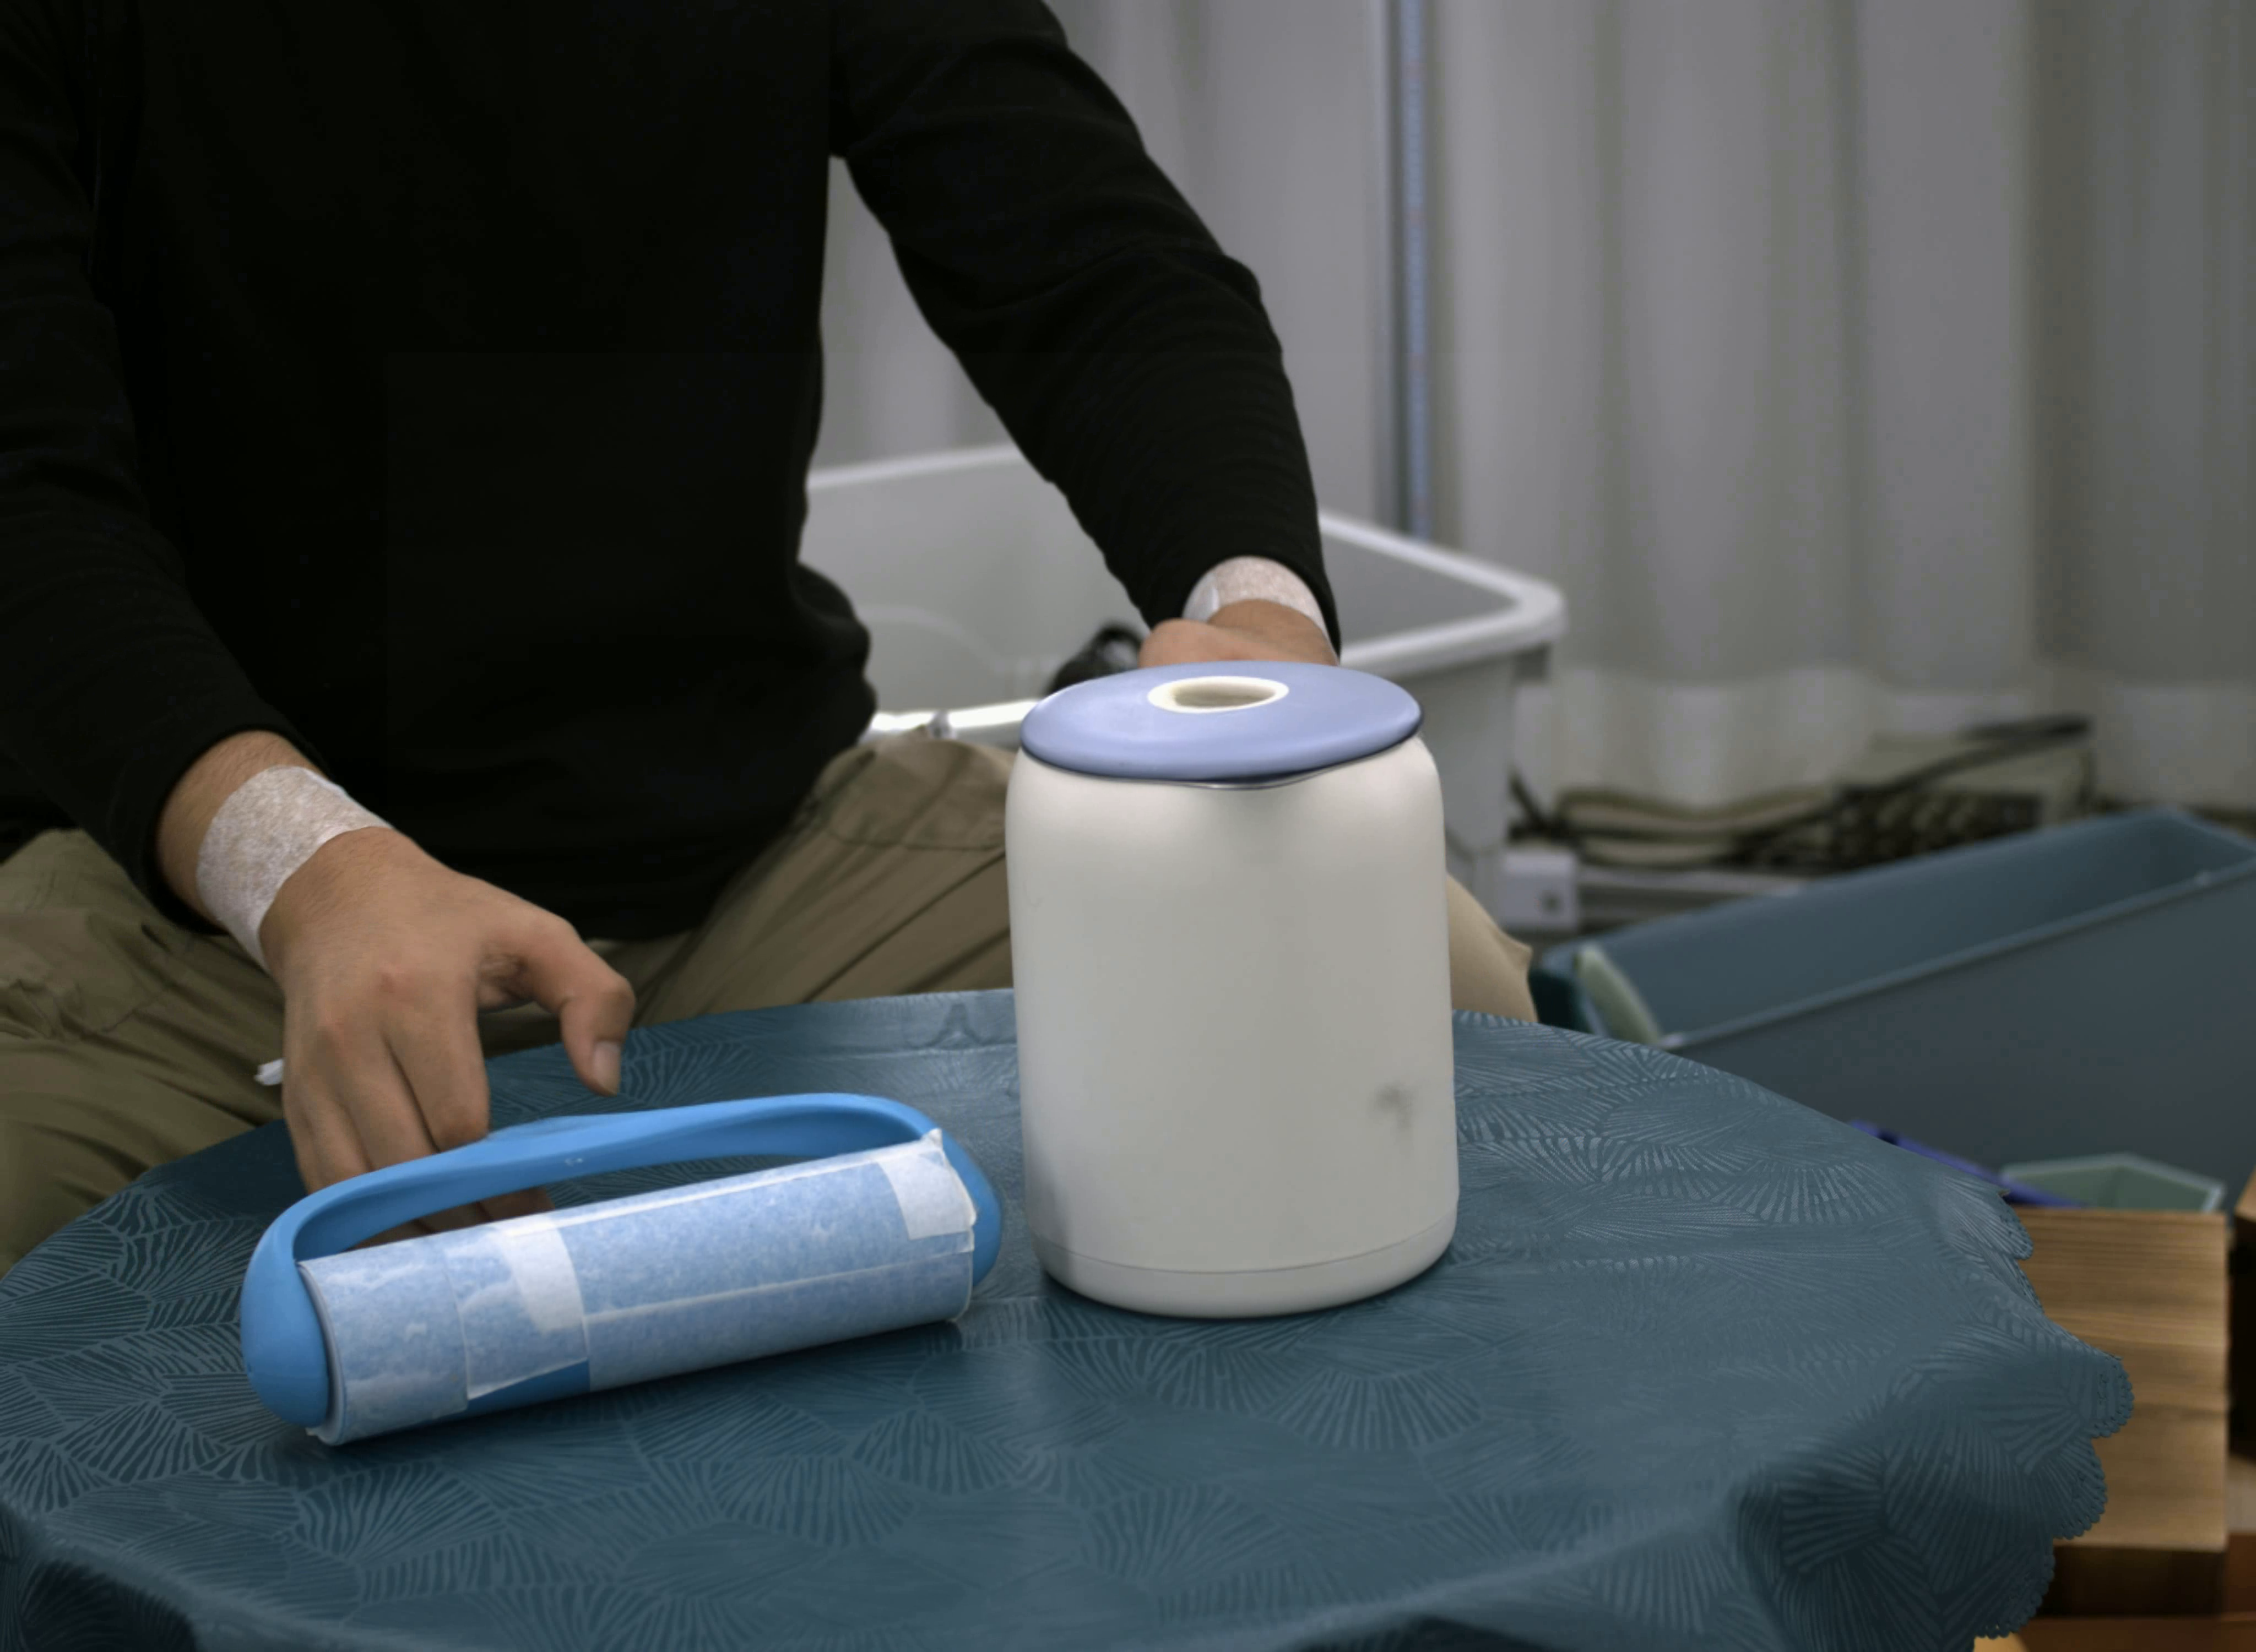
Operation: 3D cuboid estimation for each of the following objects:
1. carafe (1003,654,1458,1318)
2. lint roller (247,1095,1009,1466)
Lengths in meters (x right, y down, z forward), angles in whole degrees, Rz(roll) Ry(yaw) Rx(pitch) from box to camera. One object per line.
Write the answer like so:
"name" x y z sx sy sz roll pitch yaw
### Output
"carafe" 0.026 0.041 1.655 0.131 0.182 0.192 -5 12 -10
"lint roller" -0.168 0.118 1.621 0.228 0.067 0.182 -13 23 -24
